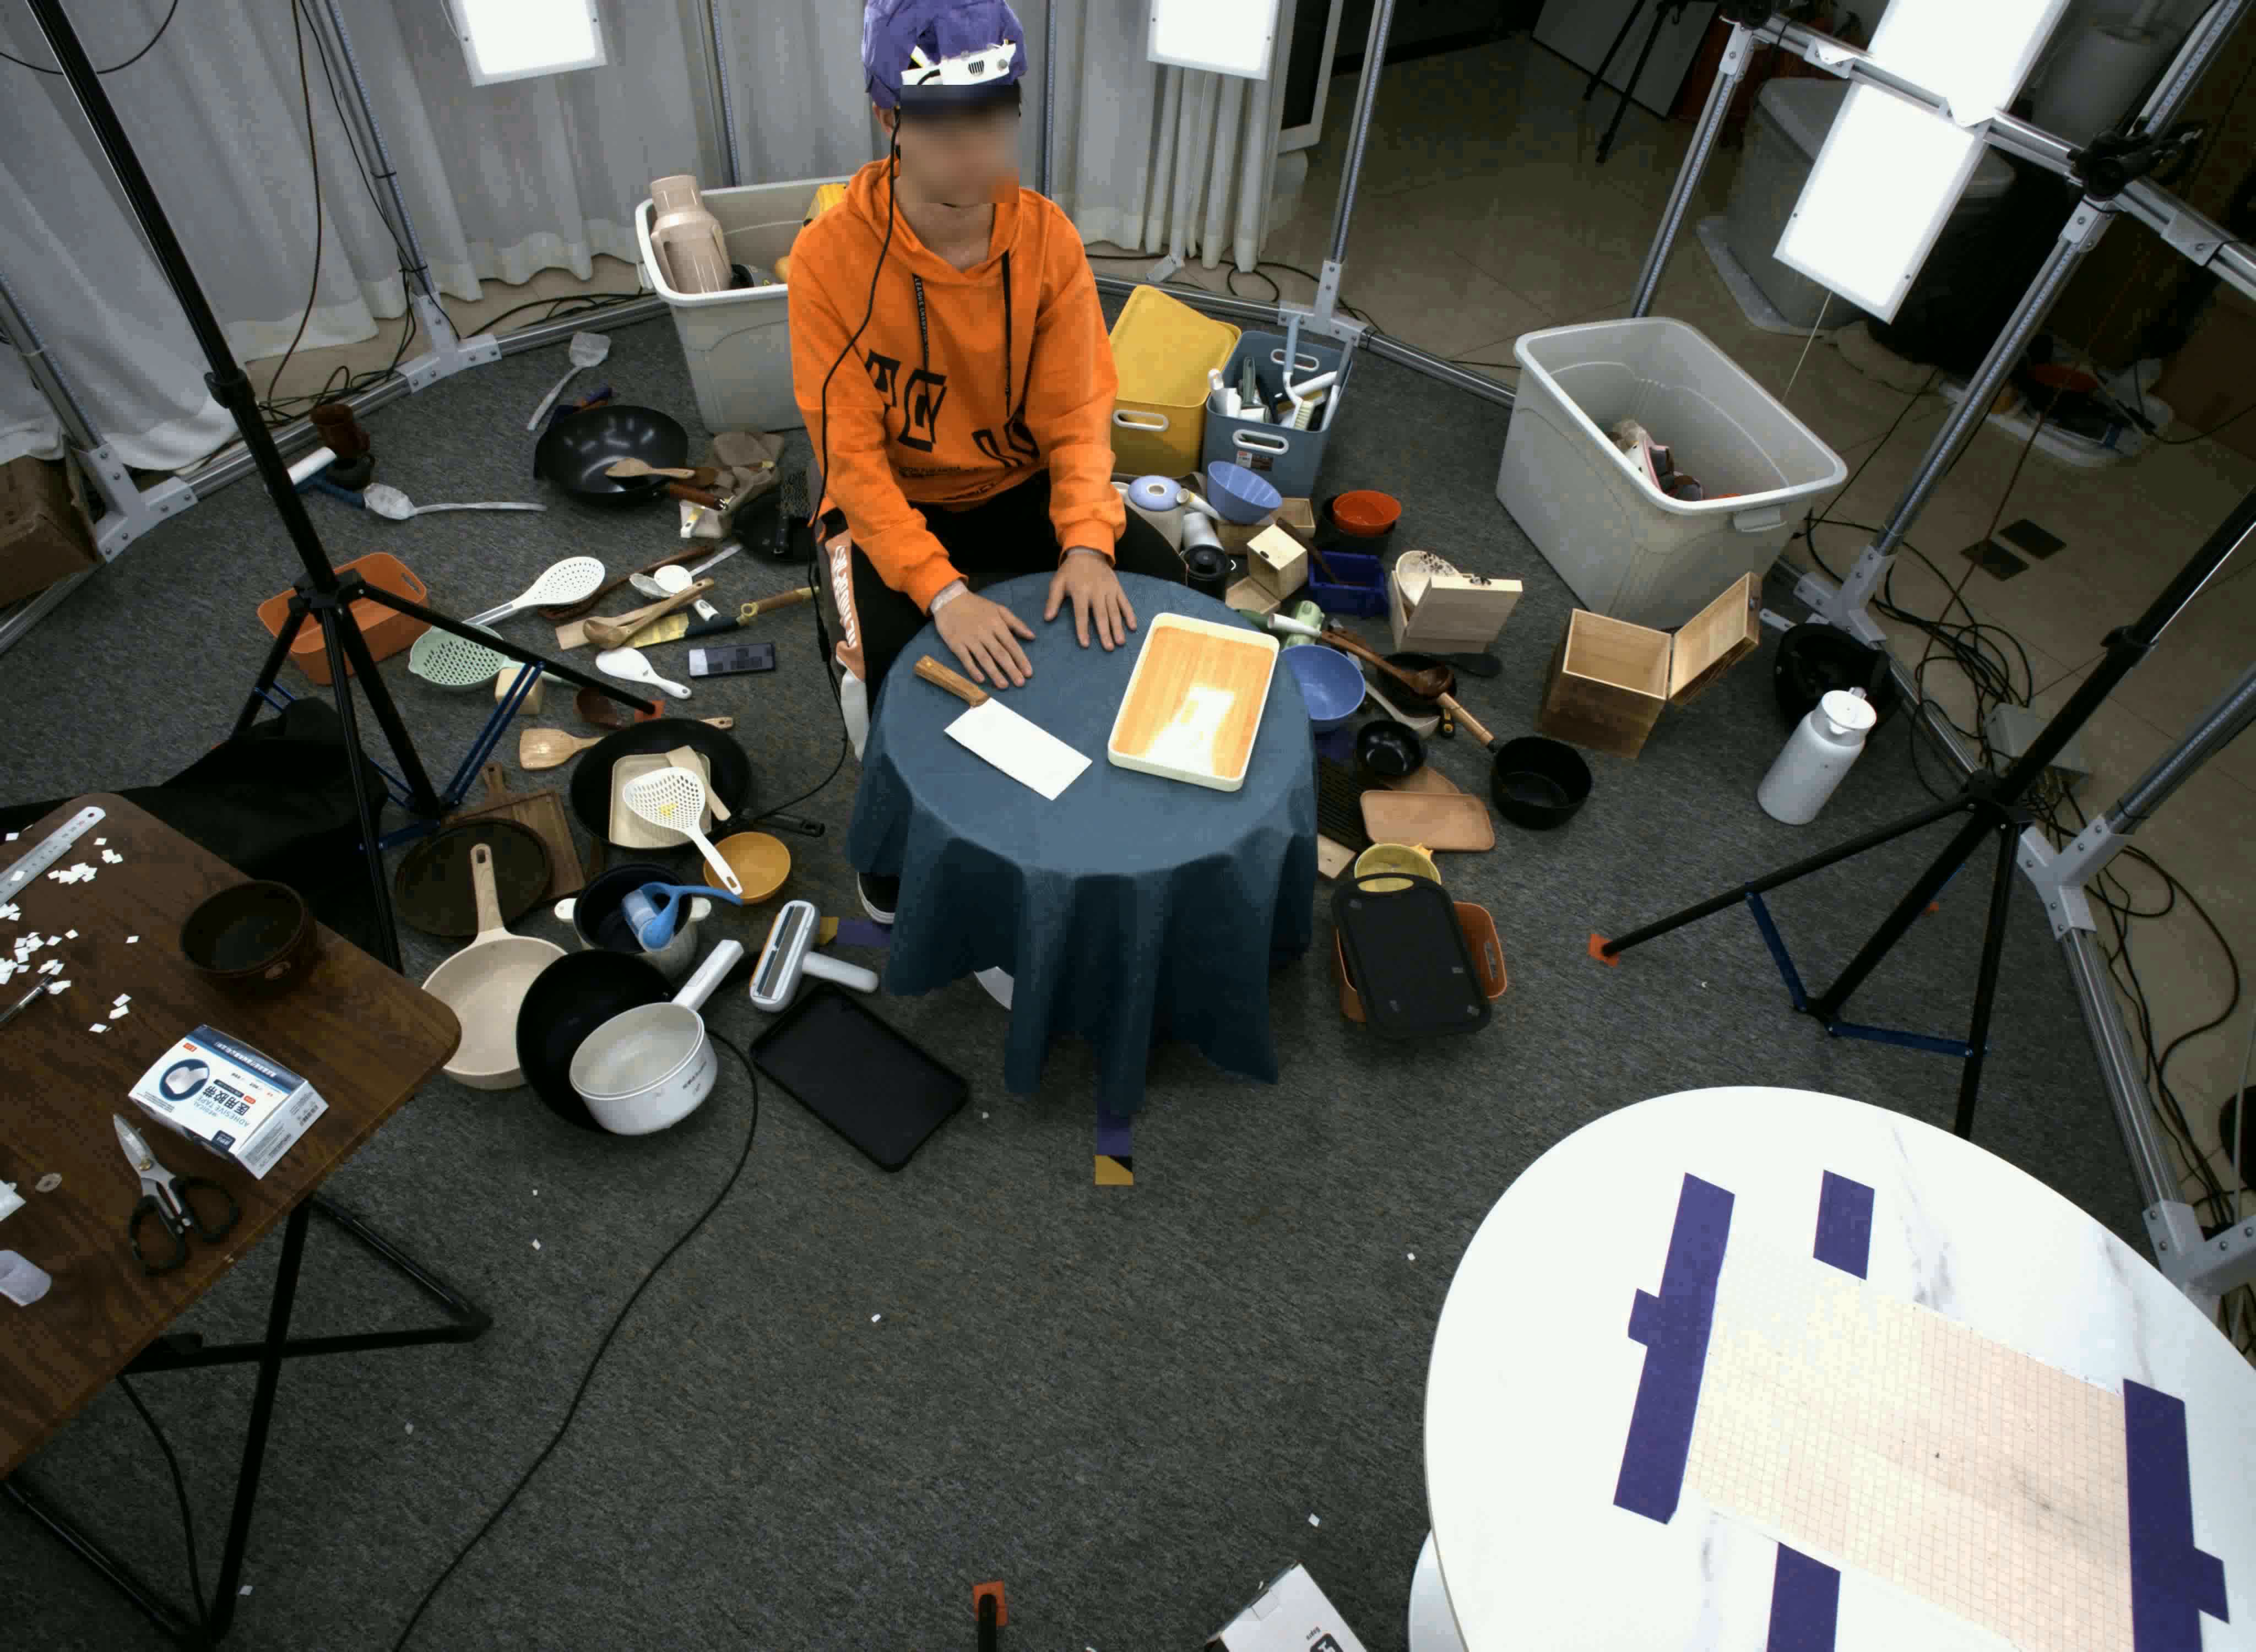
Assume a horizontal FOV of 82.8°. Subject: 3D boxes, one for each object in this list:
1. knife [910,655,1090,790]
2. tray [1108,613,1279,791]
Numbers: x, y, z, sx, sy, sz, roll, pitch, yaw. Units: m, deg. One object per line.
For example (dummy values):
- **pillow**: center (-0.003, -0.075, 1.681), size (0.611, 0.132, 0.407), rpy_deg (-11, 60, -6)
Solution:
- **knife**: center (-0.194, -0.140, 1.767), size (0.309, 0.020, 0.094), rpy_deg (33, 56, 20)
- **tray**: center (0.097, -0.181, 1.815), size (0.192, 0.027, 0.307), rpy_deg (13, 50, 8)
